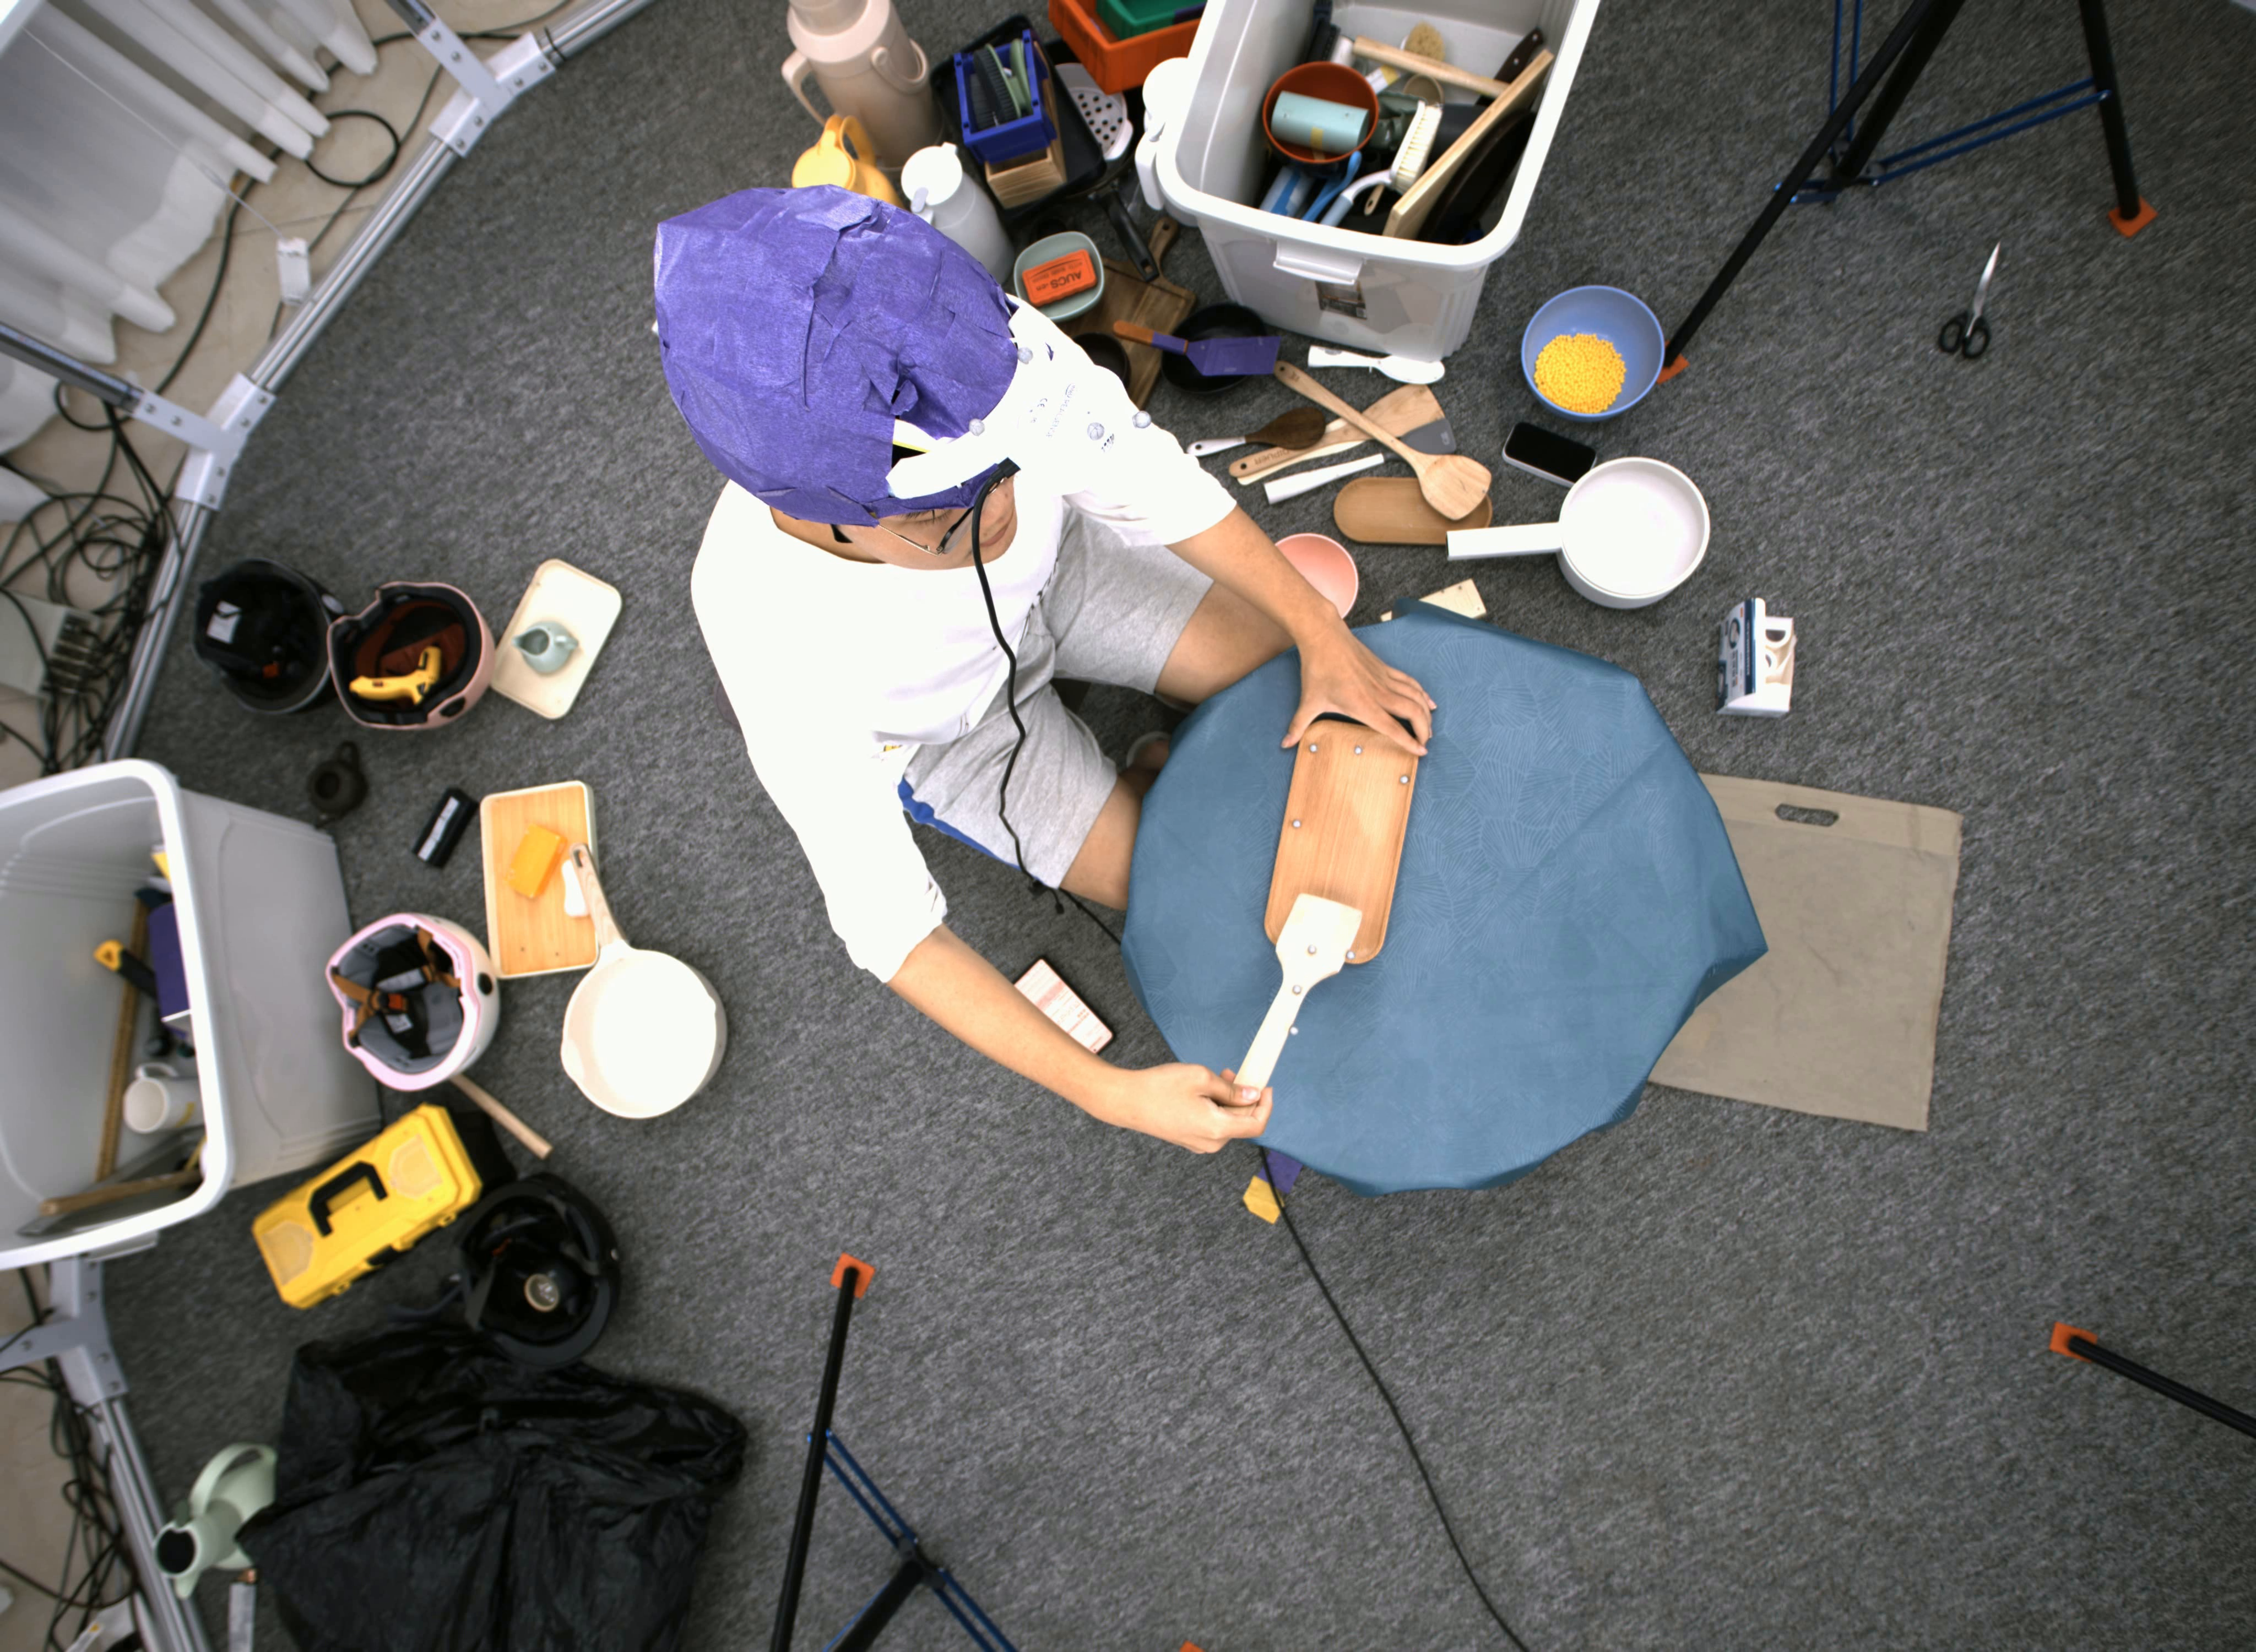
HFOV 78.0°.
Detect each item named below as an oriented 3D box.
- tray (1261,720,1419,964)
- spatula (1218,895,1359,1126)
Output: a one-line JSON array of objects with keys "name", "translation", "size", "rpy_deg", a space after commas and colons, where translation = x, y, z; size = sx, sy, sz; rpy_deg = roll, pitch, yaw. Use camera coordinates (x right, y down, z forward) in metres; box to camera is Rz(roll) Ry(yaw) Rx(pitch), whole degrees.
[{"name": "tray", "translation": [0.225, 0.015, 1.464], "size": [0.131, 0.023, 0.250], "rpy_deg": [12, 90, 14]}, {"name": "spatula", "translation": [0.150, 0.173, 1.335], "size": [0.072, 0.011, 0.285], "rpy_deg": [17, 48, 17]}]
